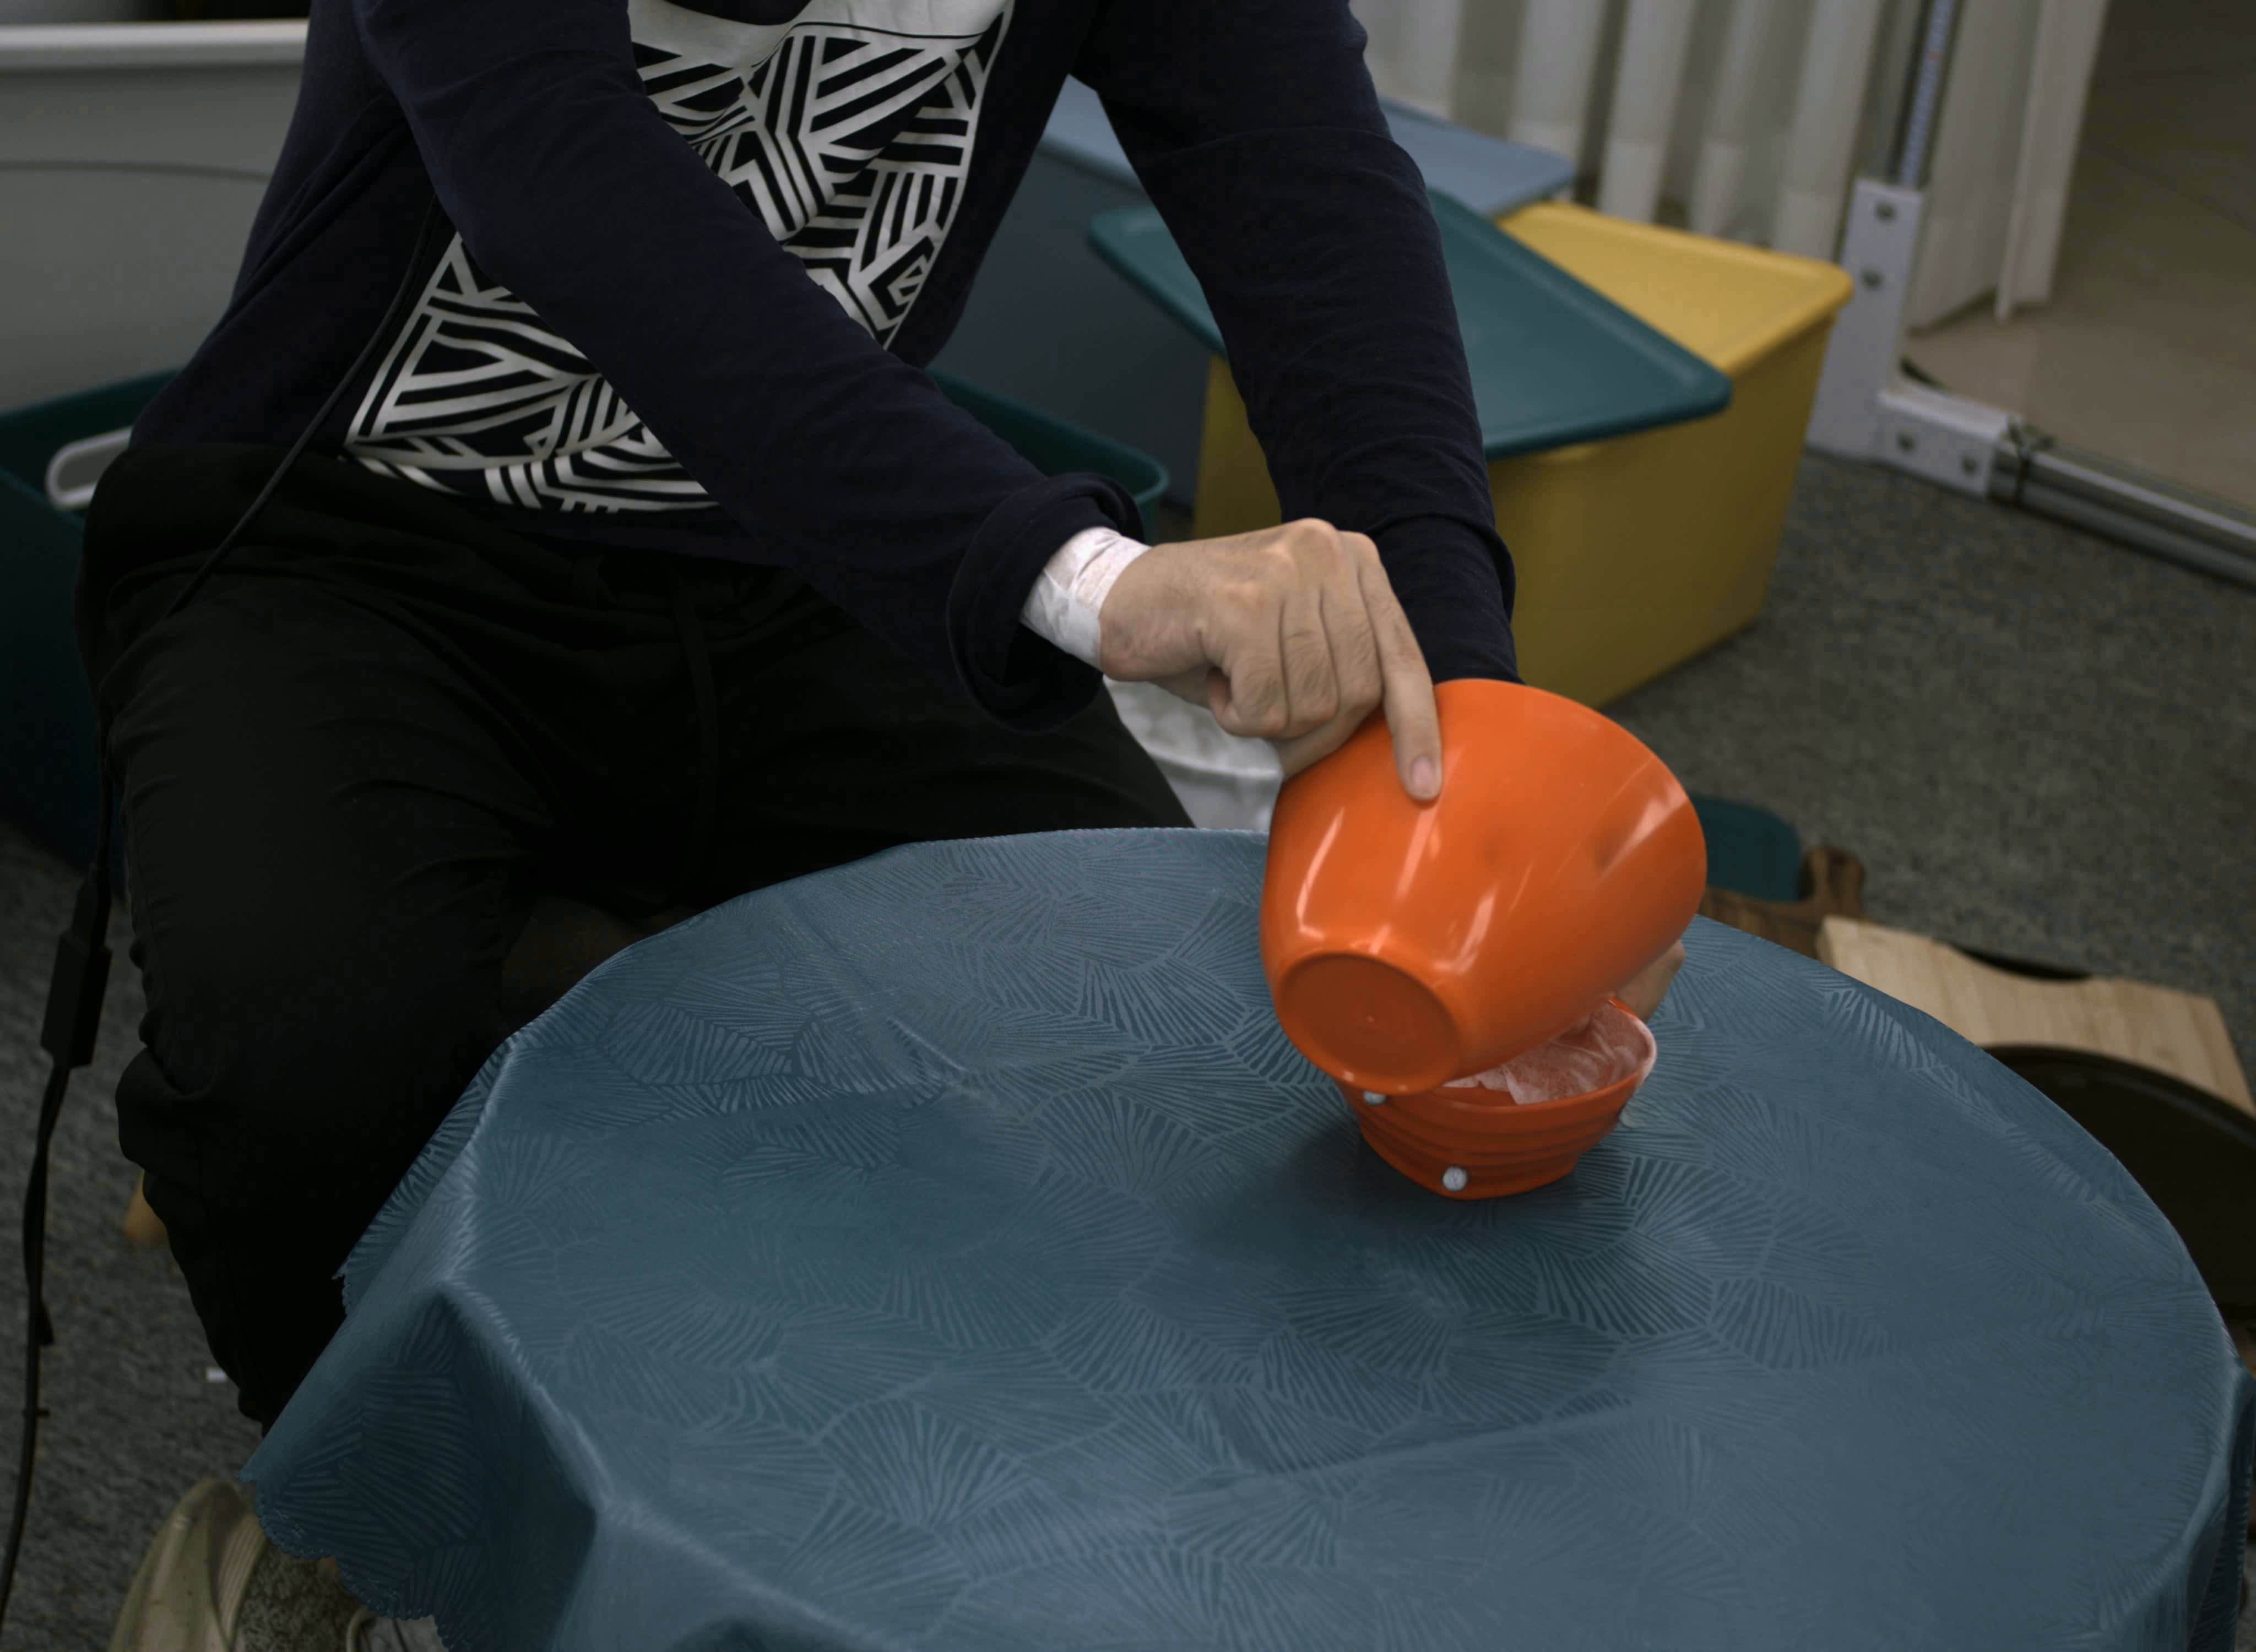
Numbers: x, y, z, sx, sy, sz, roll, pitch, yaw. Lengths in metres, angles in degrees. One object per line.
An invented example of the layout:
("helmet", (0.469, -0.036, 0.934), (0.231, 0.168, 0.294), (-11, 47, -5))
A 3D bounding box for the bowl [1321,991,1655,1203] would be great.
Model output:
("bowl", (0.121, 0.090, 1.846), (0.118, 0.051, 0.119), (3, 26, -2))

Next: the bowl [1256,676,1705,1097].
("bowl", (0.107, 0.033, 1.772), (0.148, 0.147, 0.105), (15, 46, 15))
